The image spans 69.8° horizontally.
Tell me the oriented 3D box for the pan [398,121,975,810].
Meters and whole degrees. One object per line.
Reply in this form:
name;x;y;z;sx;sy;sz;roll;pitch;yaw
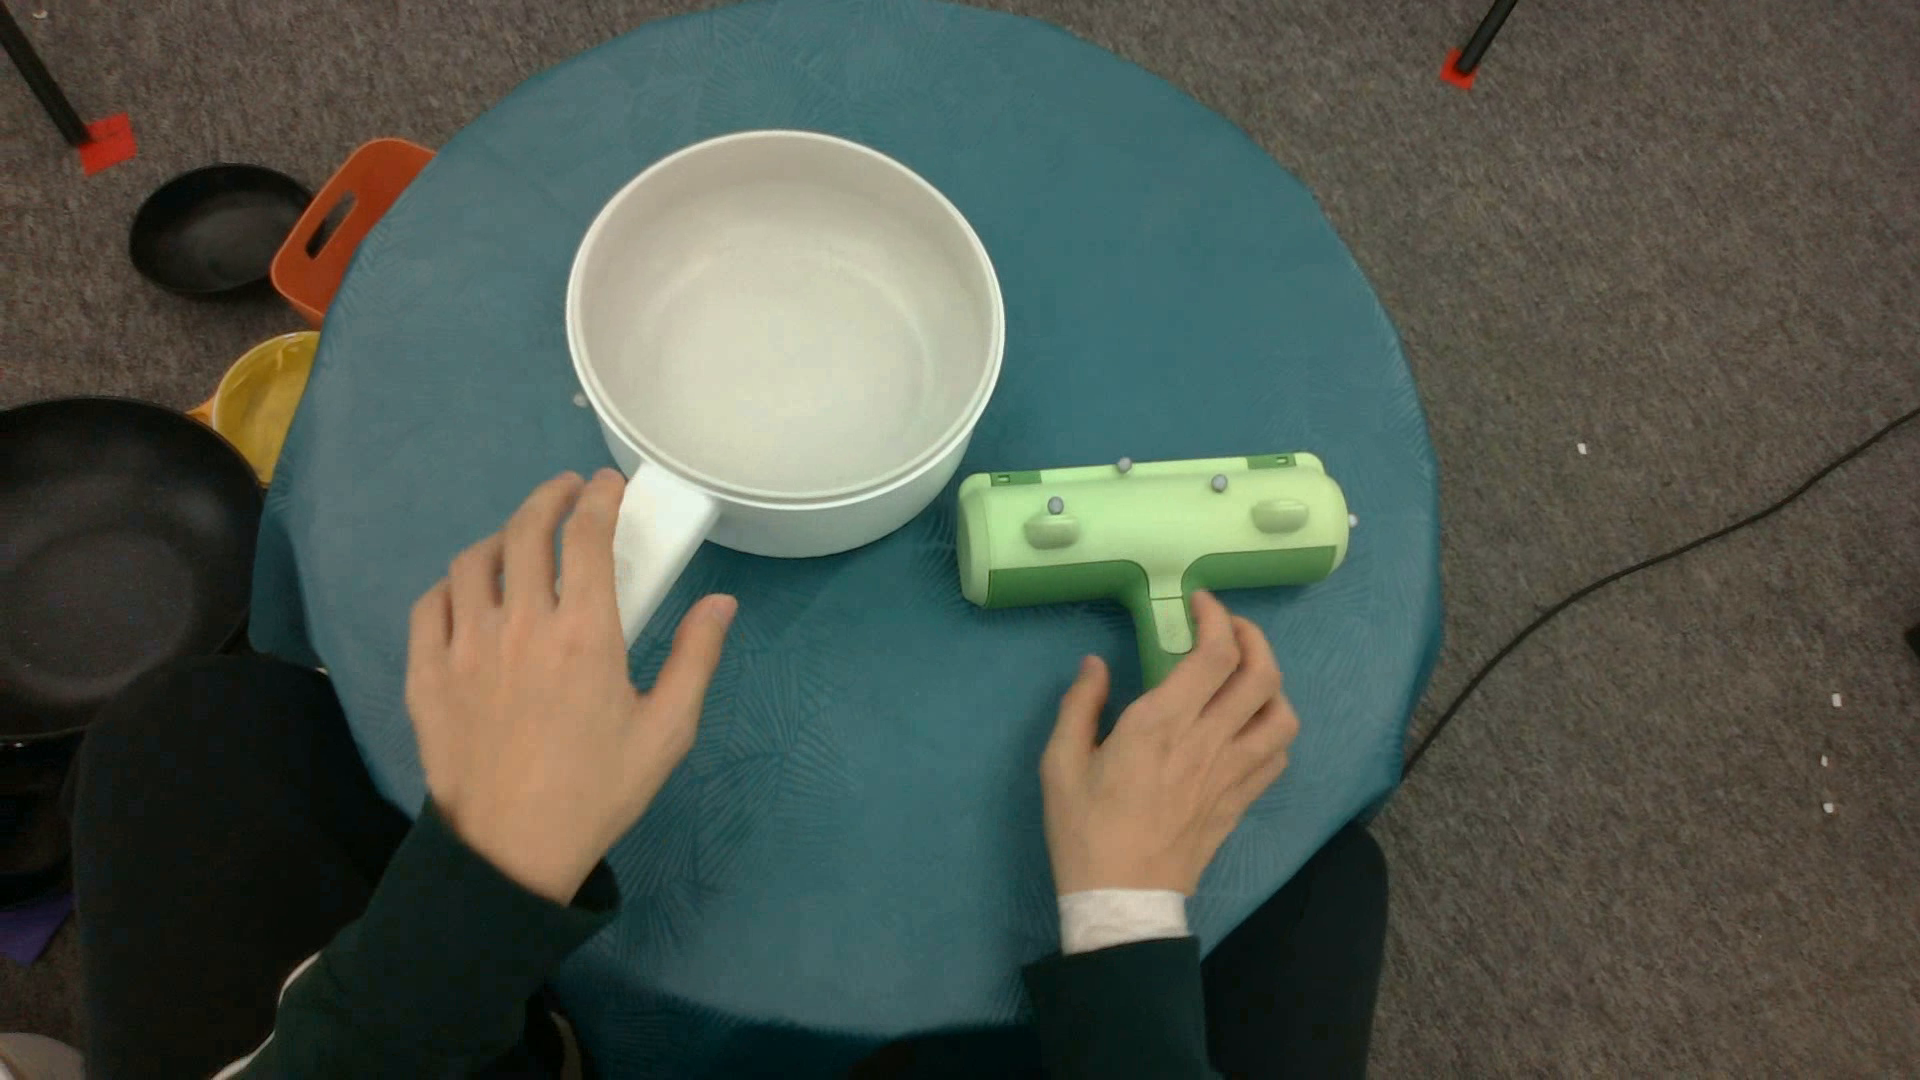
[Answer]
pan;-0.132;-0.033;0.651;0.201;0.101;0.356;28;68;2

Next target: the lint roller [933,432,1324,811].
lint roller;0.095;0.034;0.670;0.199;0.082;0.184;-5;64;-11
